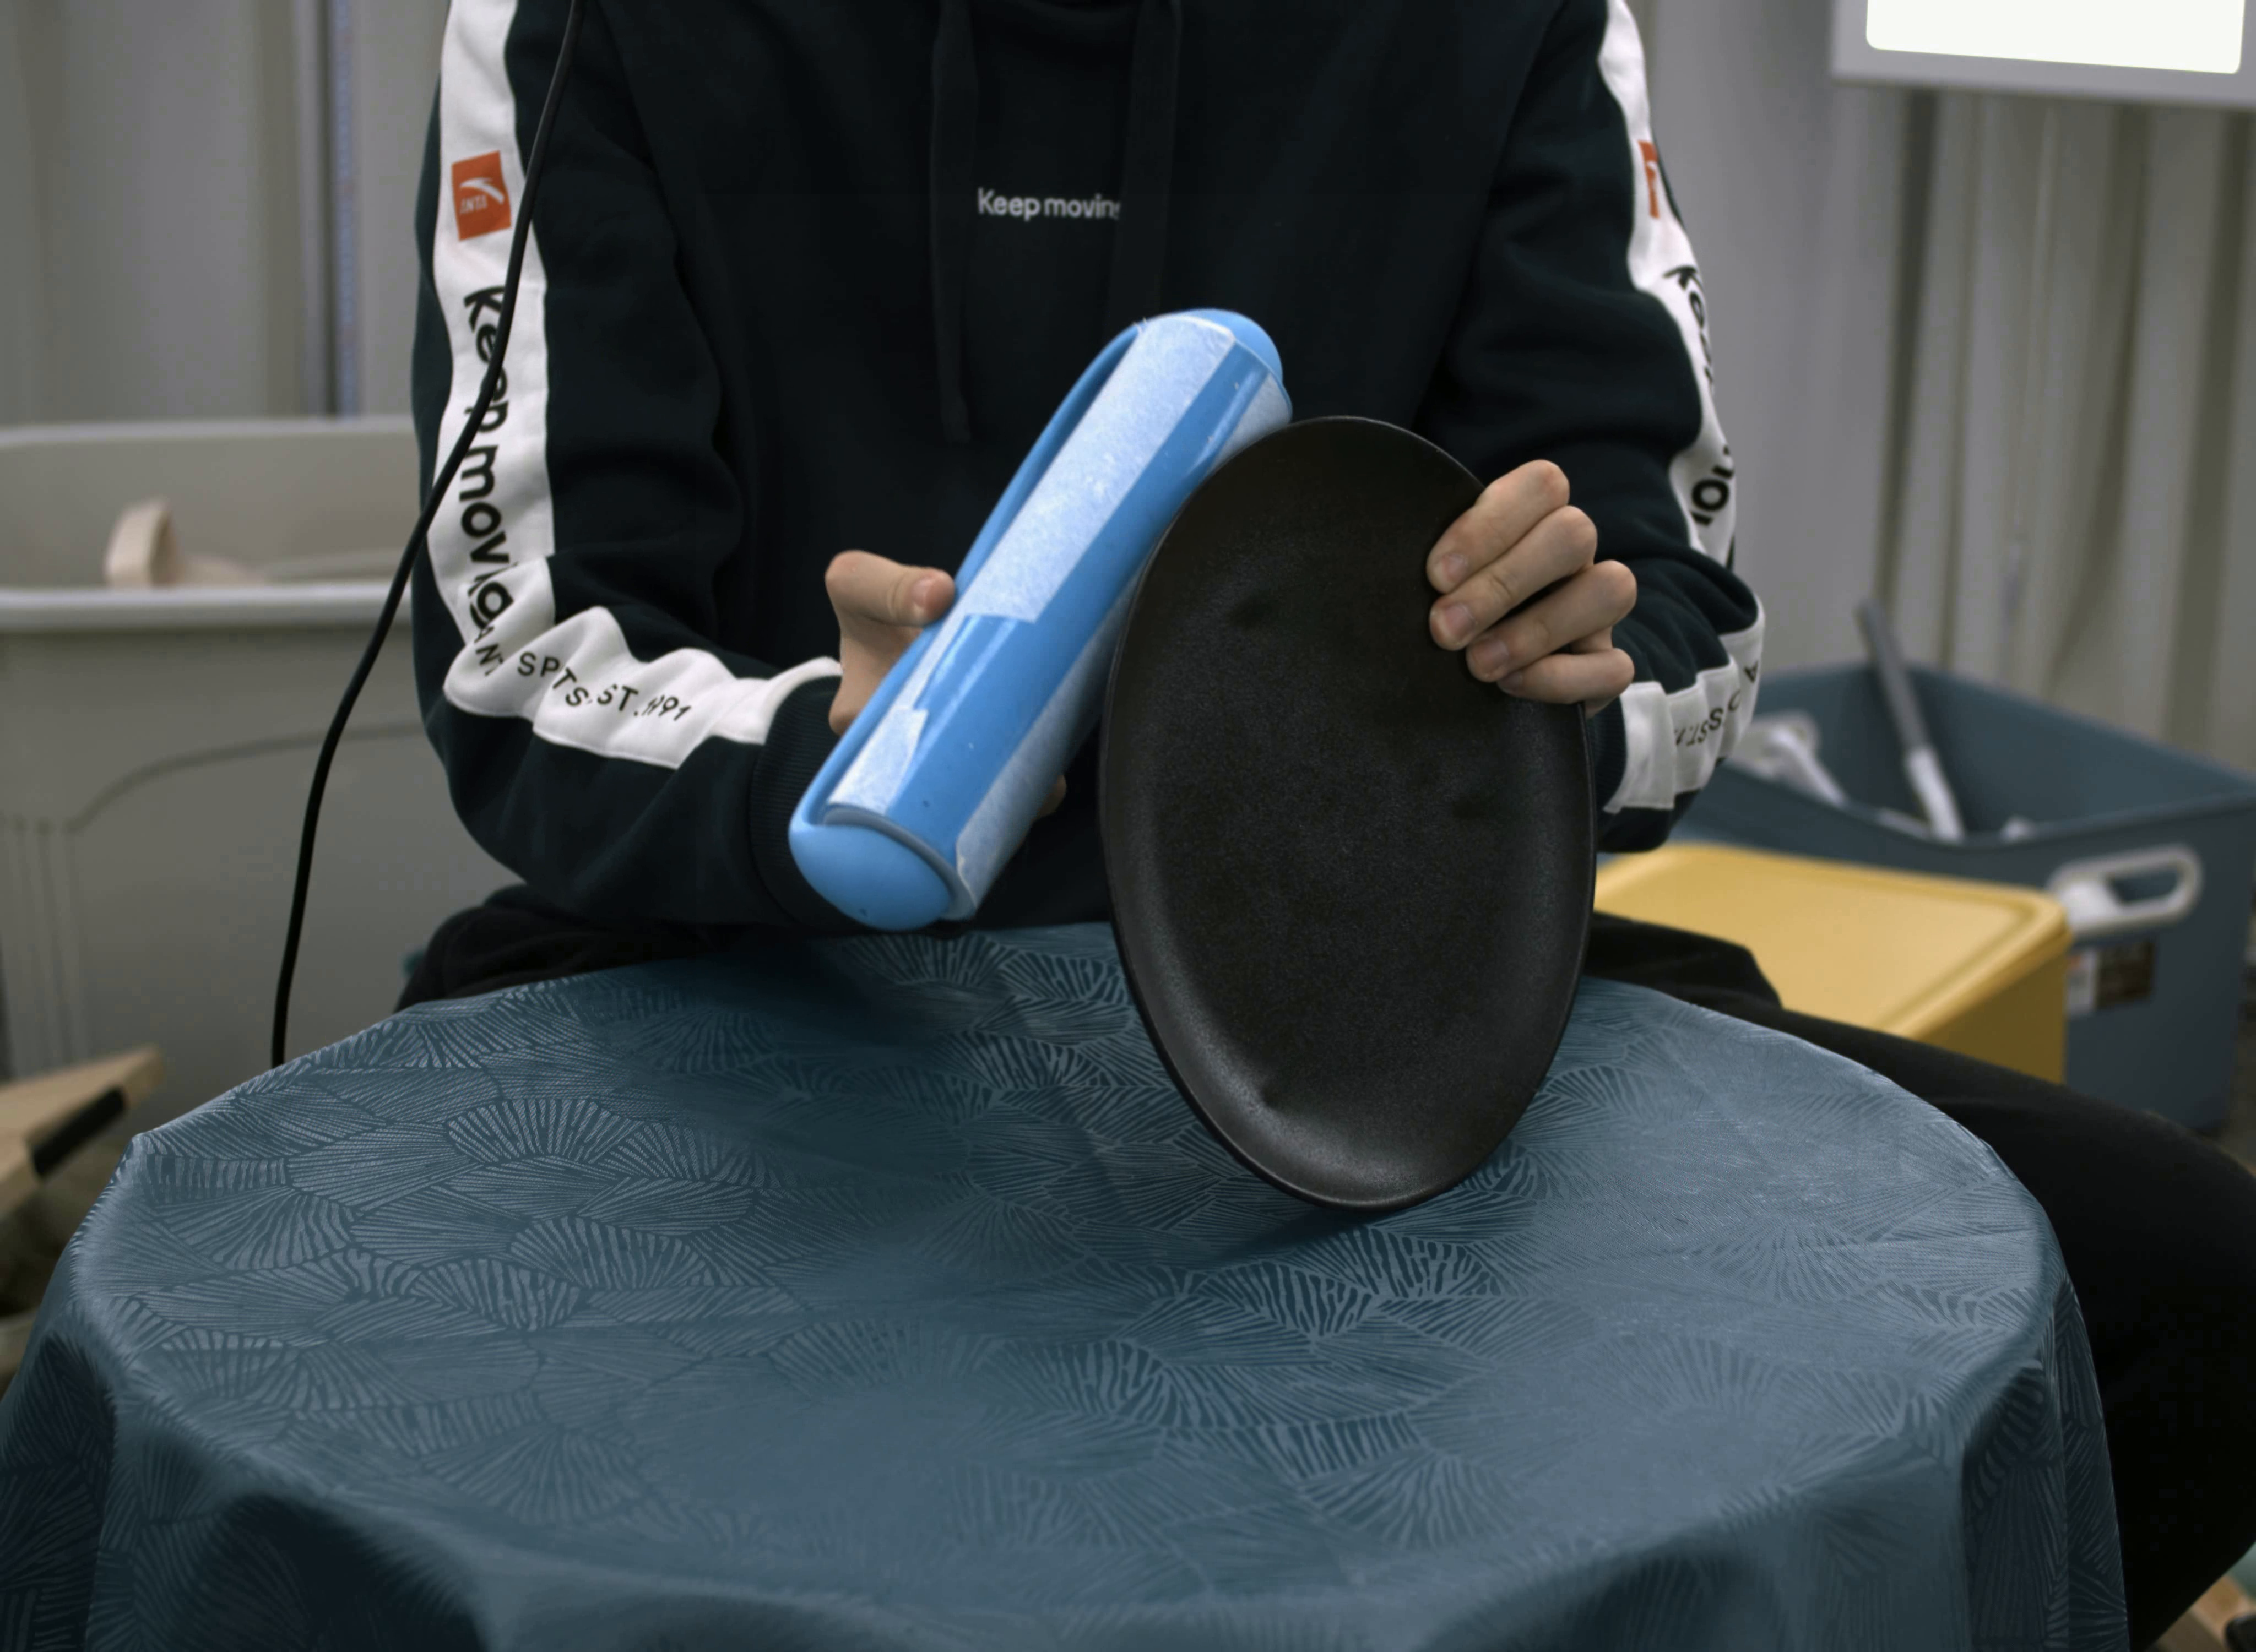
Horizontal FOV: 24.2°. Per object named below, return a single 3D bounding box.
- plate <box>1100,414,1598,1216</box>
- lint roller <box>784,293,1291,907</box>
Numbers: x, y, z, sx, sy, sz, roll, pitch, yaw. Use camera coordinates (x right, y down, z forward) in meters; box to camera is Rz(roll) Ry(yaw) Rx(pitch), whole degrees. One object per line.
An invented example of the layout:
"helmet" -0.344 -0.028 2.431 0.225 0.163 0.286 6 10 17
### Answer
"plate" 0.065 -0.003 1.603 0.023 0.246 0.245 -3 10 40
"lint roller" -0.035 -0.046 1.604 0.068 0.181 0.228 32 64 1
